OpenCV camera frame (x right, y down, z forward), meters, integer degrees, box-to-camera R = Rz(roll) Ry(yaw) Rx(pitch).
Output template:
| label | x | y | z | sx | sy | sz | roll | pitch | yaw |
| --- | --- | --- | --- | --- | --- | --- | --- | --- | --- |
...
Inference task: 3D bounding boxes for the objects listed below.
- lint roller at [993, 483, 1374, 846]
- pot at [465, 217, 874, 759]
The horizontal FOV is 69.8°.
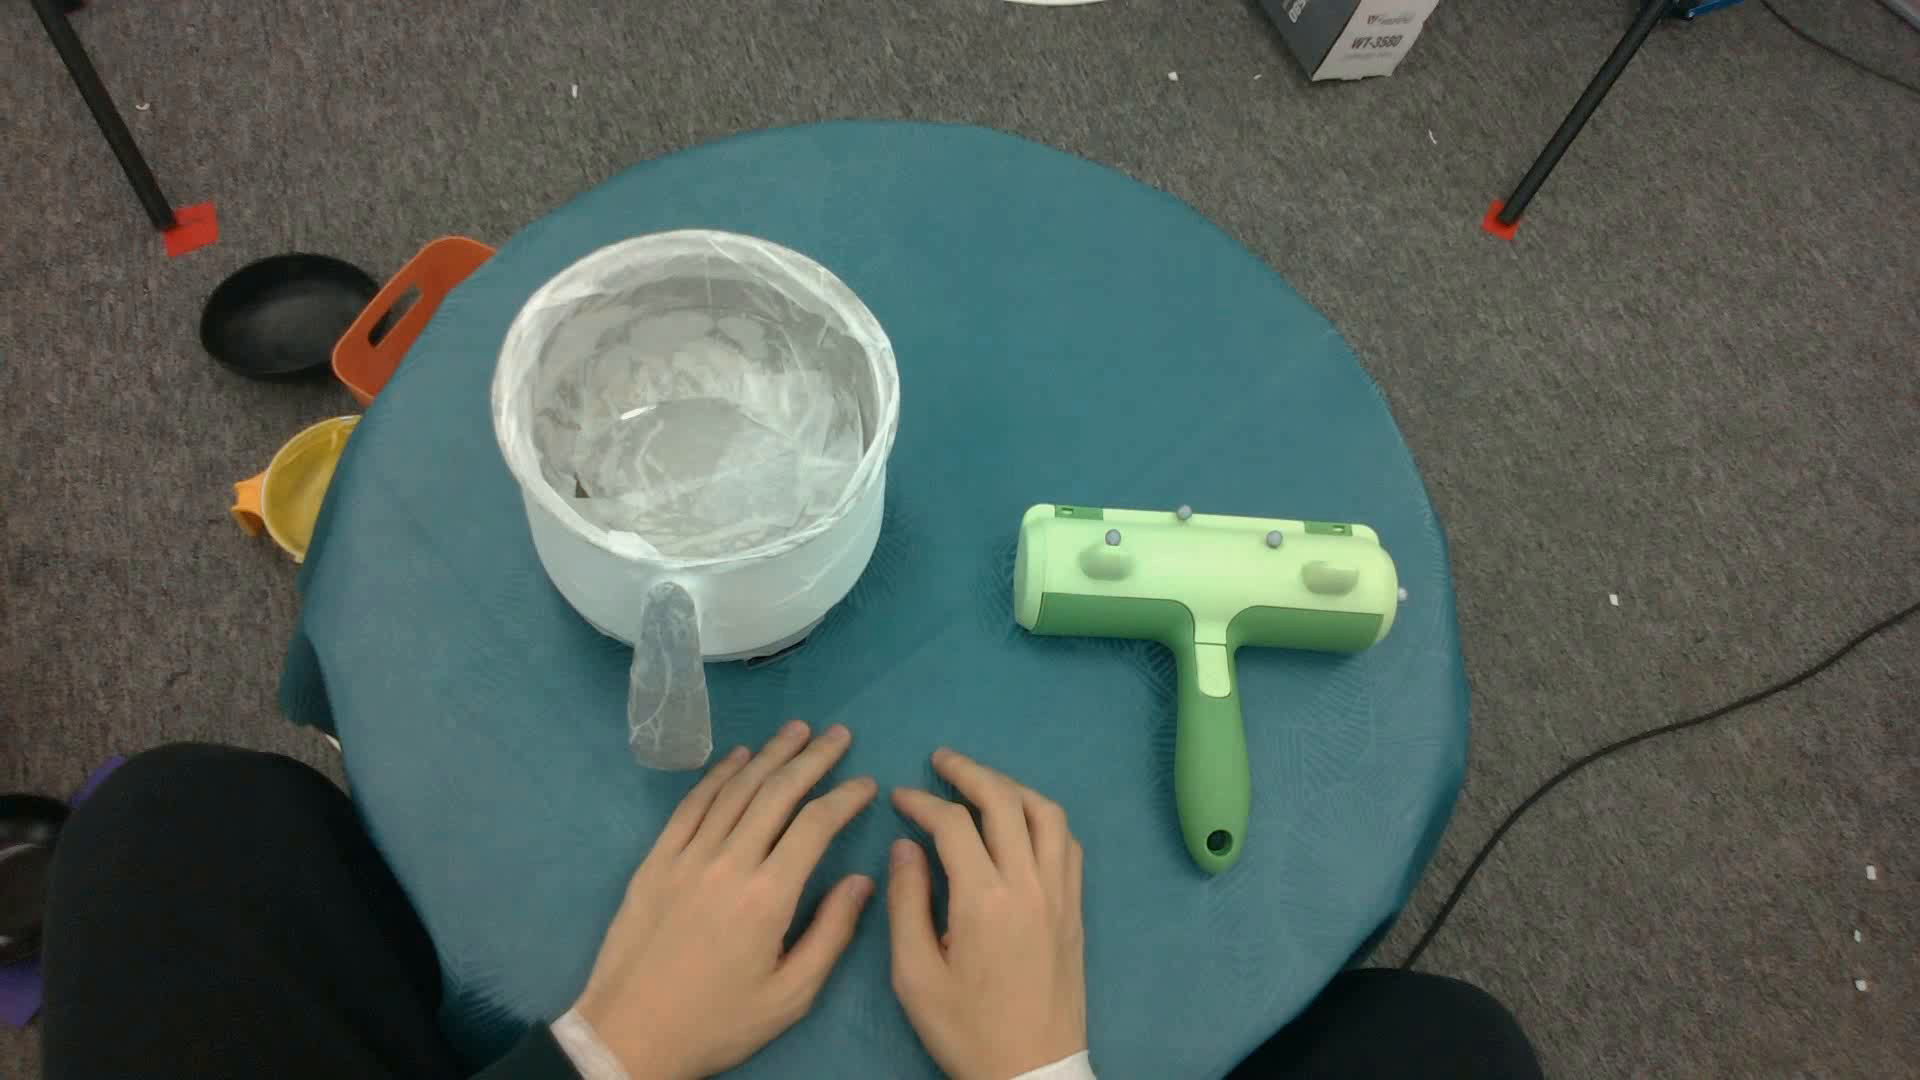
| label | x | y | z | sx | sy | sz | roll | pitch | yaw |
| --- | --- | --- | --- | --- | --- | --- | --- | --- | --- |
| lint roller | 0.119 | 0.054 | 0.689 | 0.199 | 0.082 | 0.184 | 3 | 59 | -8 |
| pot | -0.135 | -0.021 | 0.654 | 0.179 | 0.136 | 0.234 | 4 | 63 | -6 |
